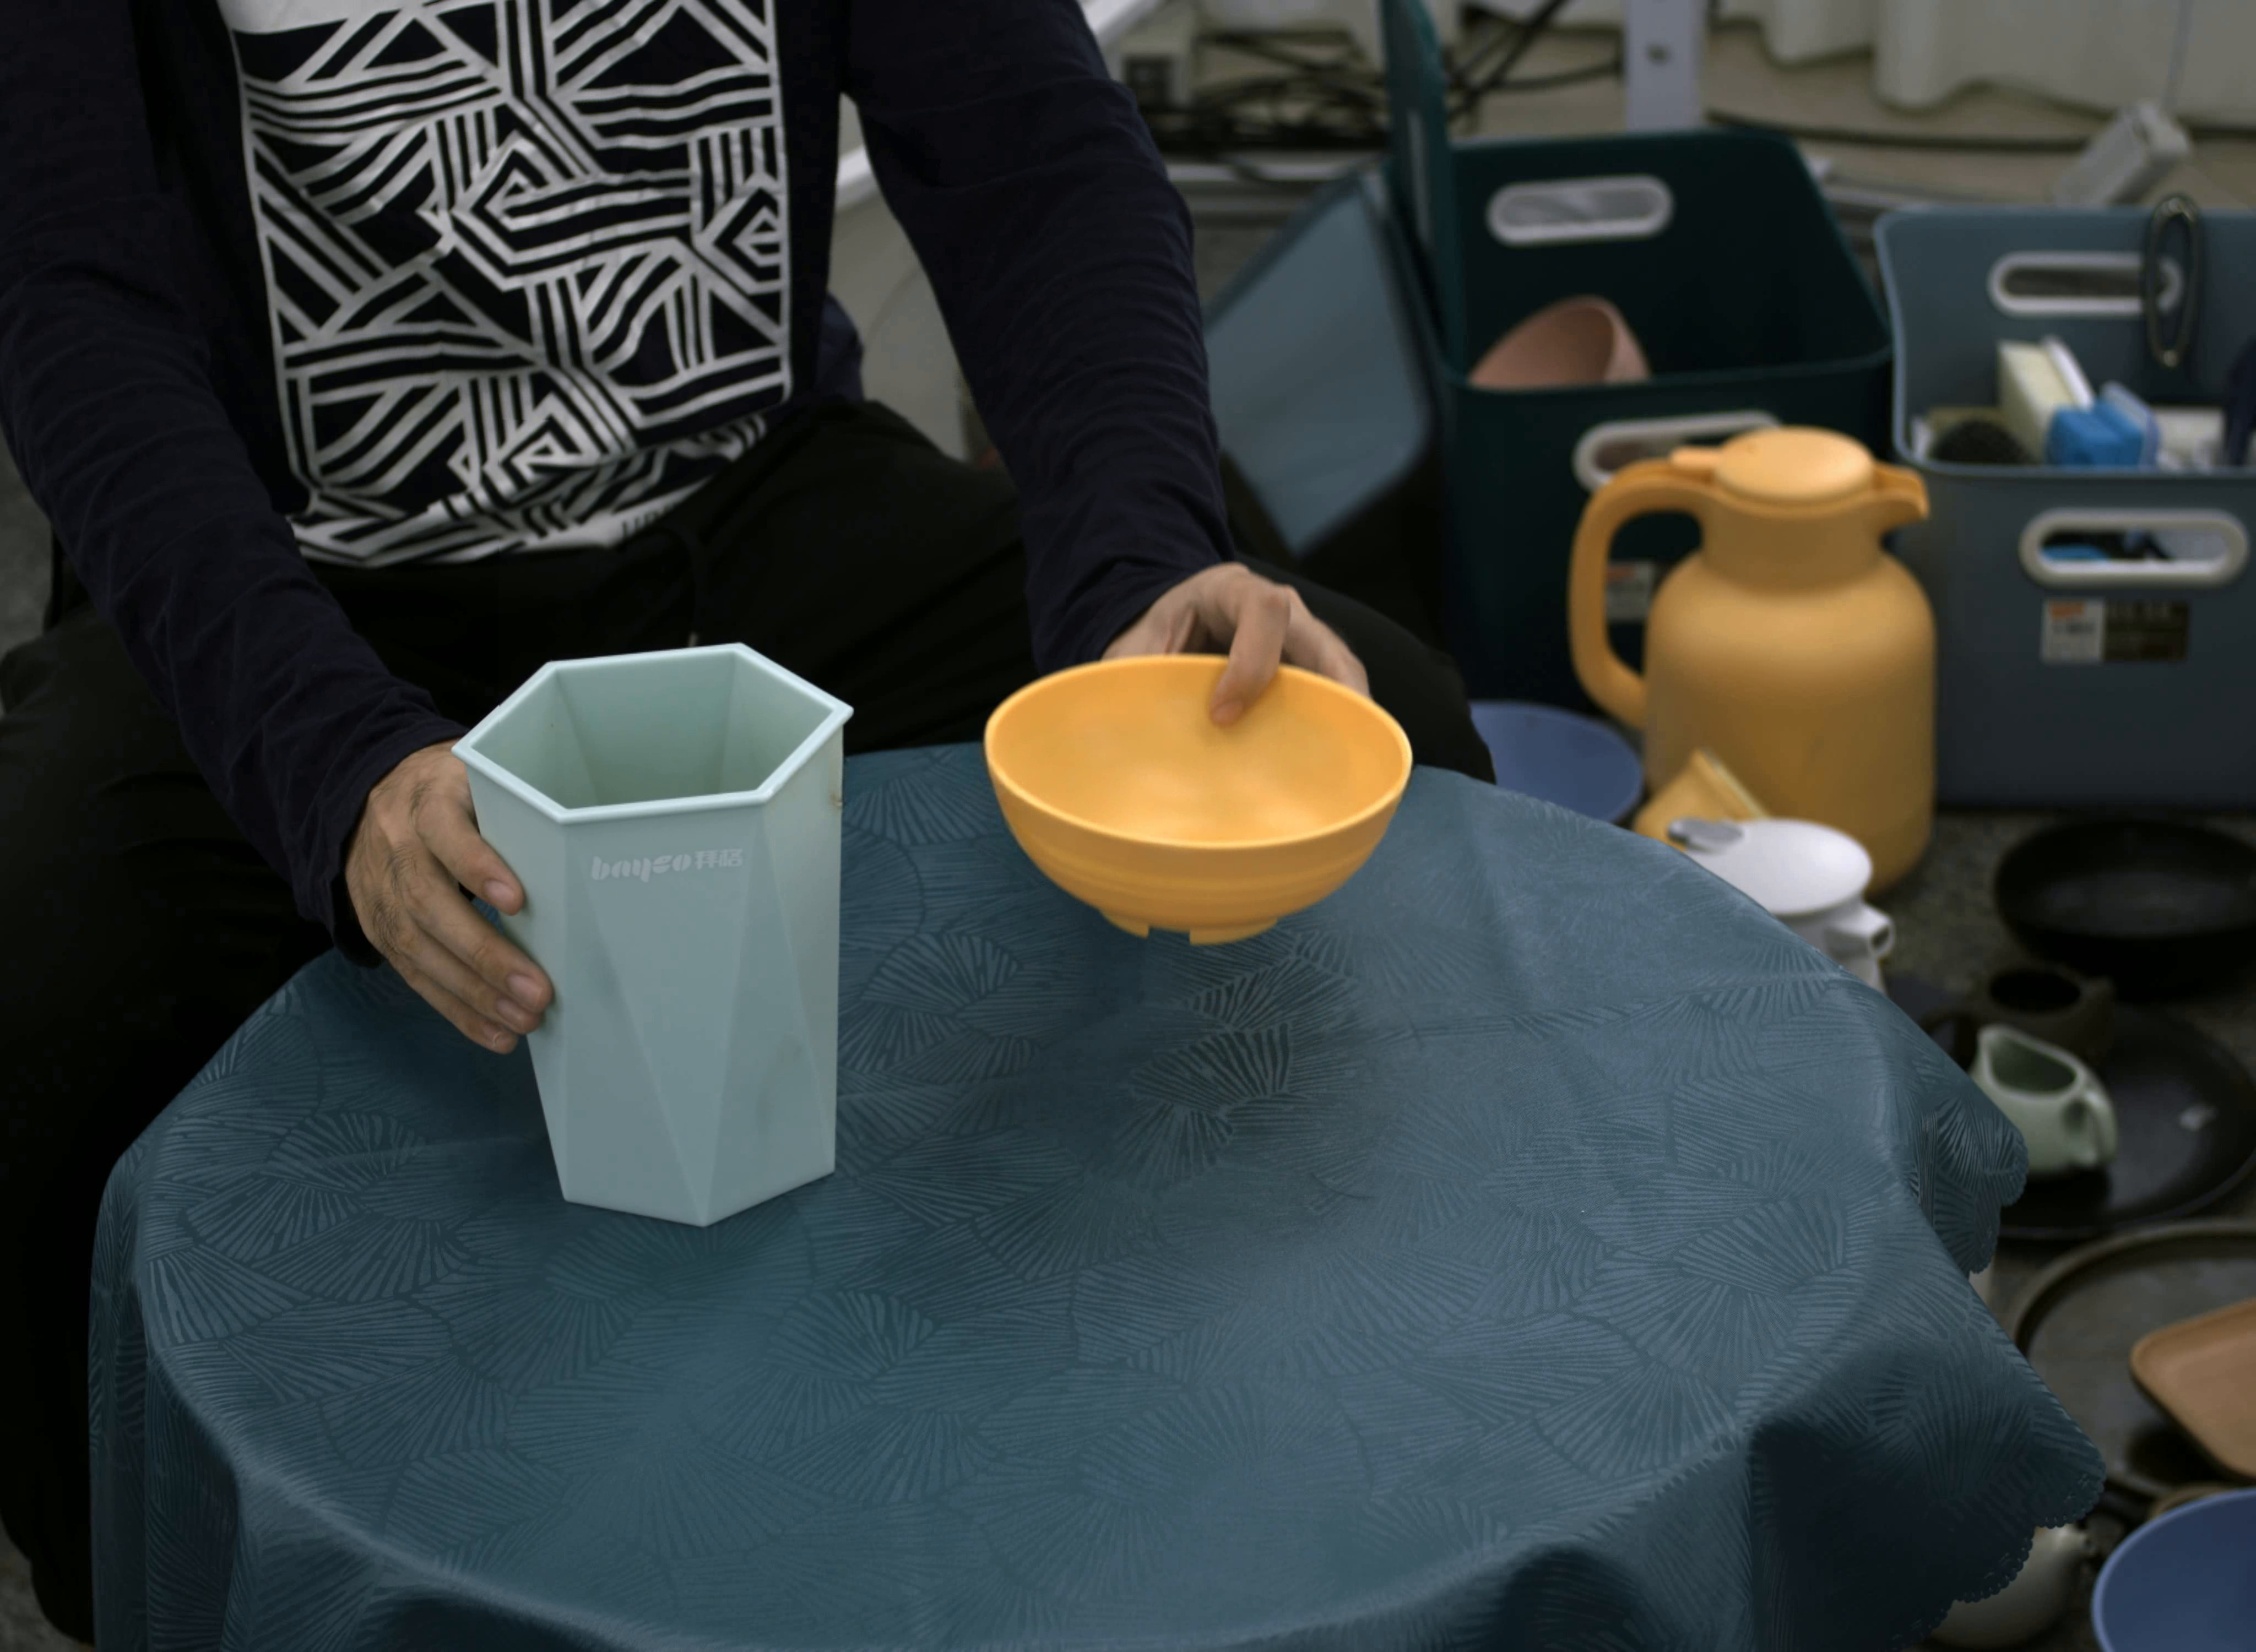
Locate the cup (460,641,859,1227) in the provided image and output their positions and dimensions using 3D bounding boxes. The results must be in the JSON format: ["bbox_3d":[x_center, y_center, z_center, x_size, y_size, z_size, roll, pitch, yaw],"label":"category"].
[{"bbox_3d":[-0.150,0.038,1.859,0.131,0.161,0.116,-6,25,-9],"label":"cup"}]

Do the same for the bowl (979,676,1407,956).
[{"bbox_3d":[0.020,0.004,1.894,0.144,0.059,0.147,3,23,-1],"label":"bowl"}]
